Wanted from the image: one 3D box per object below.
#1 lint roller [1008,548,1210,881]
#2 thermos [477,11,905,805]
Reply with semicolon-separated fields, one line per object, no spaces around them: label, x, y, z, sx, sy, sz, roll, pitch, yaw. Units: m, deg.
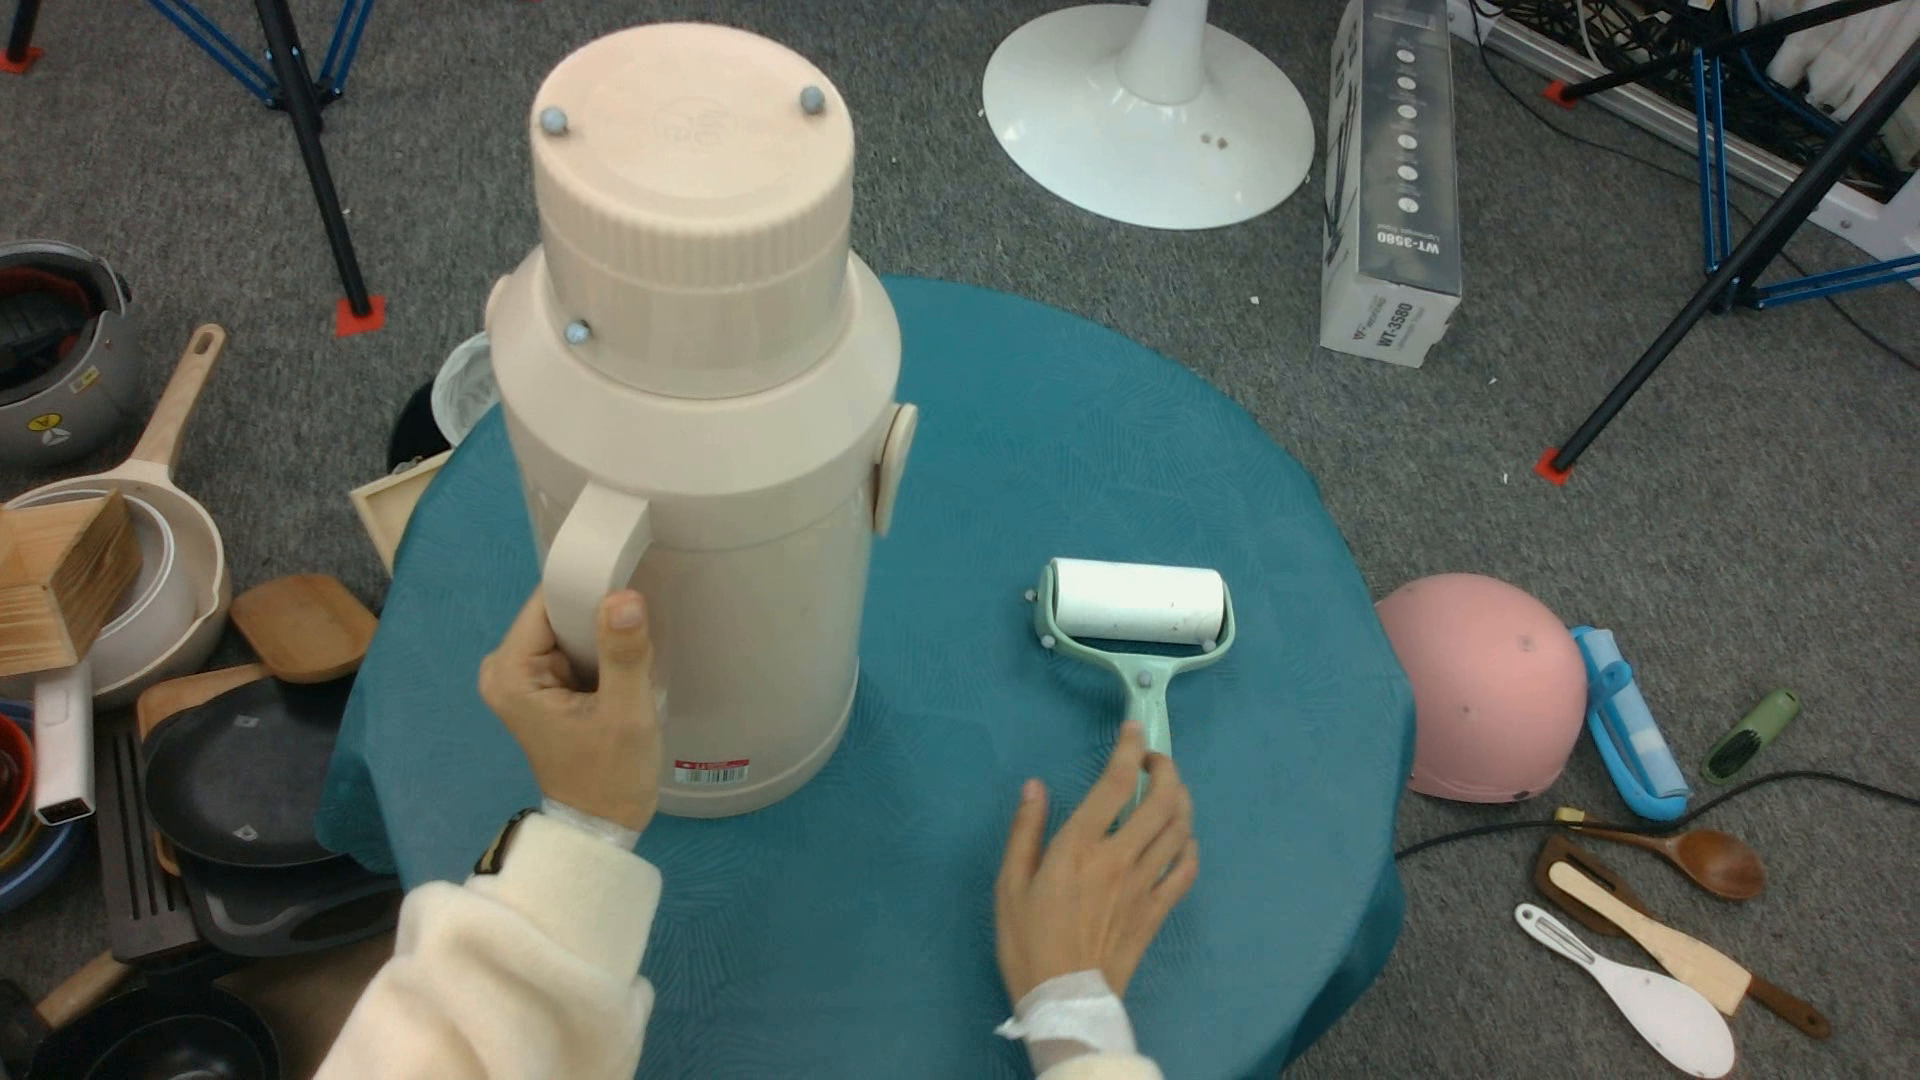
lint roller;0.087;0.092;0.781;0.117;0.048;0.198;6;54;-9
thermos;-0.123;-0.021;0.609;0.175;0.404;0.208;18;55;2
